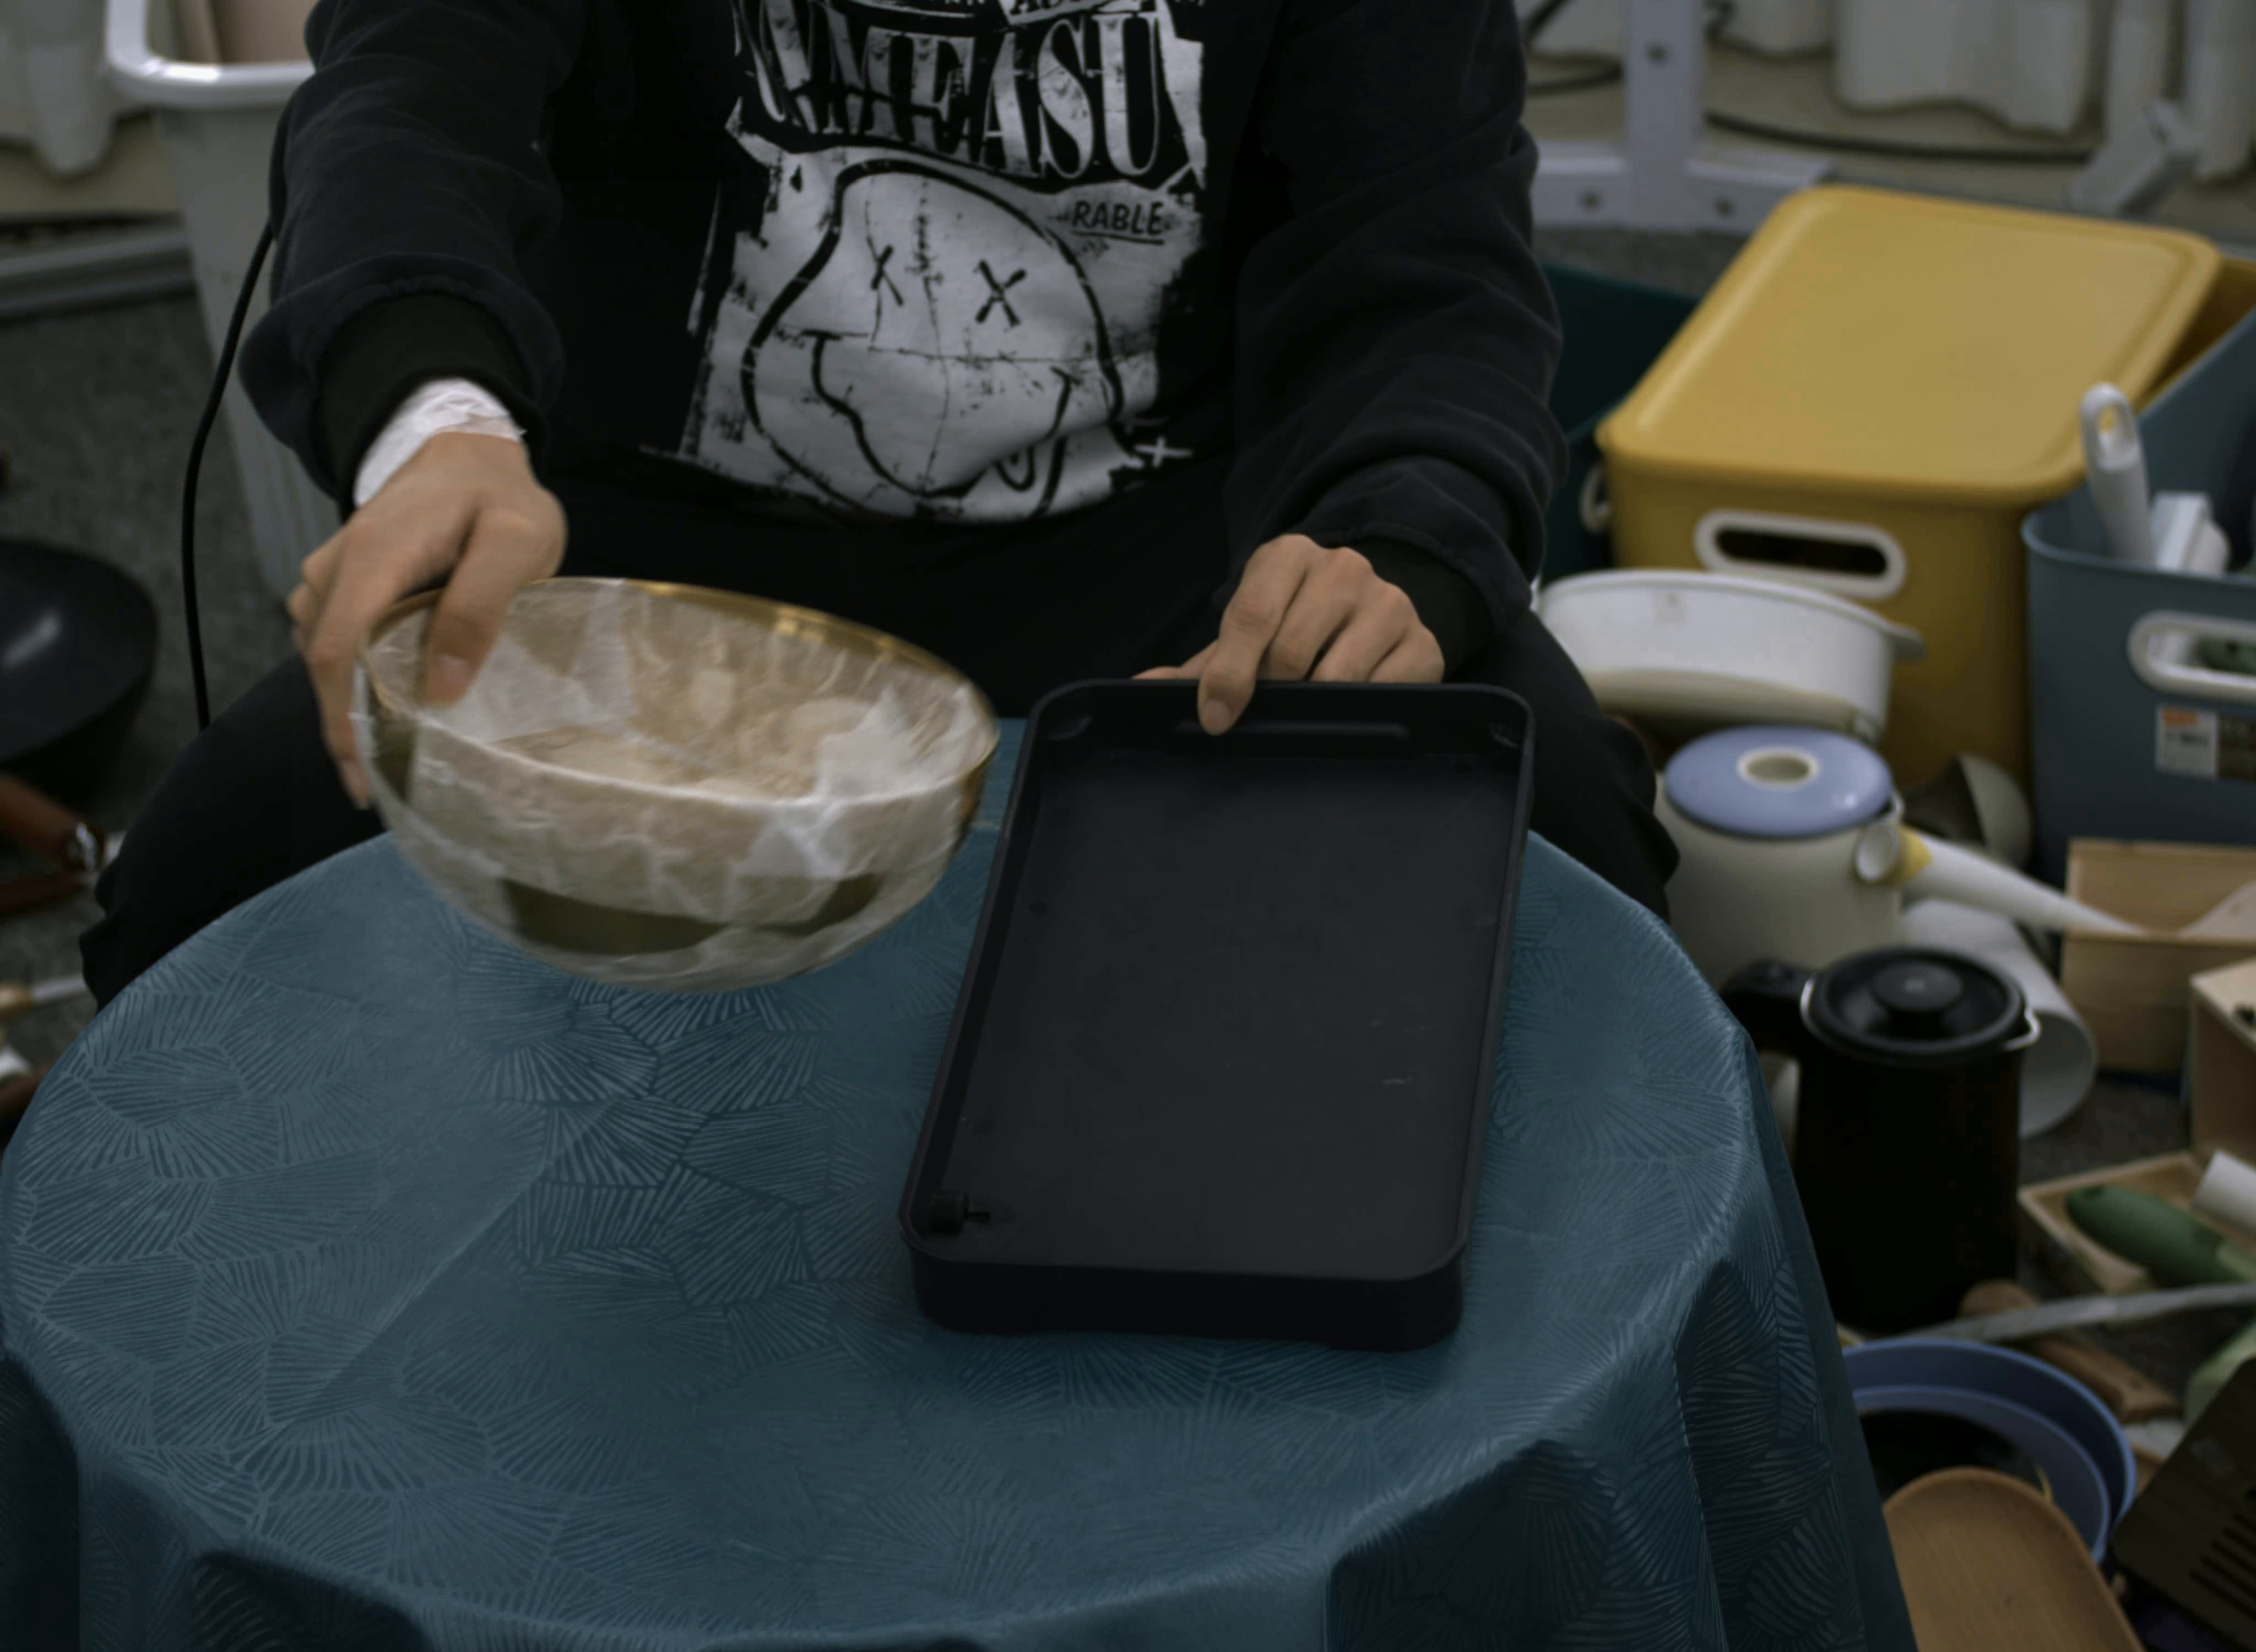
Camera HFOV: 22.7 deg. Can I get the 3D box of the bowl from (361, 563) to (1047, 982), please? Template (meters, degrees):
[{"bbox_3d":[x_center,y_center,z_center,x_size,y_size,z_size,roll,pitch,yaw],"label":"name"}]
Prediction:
[{"bbox_3d":[-0.138,-0.007,1.754,0.214,0.094,0.217,7,19,-2],"label":"bowl"}]

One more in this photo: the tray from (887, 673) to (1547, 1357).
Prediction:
[{"bbox_3d":[0.036,0.057,1.894,0.183,0.036,0.324,3,37,10],"label":"tray"}]
